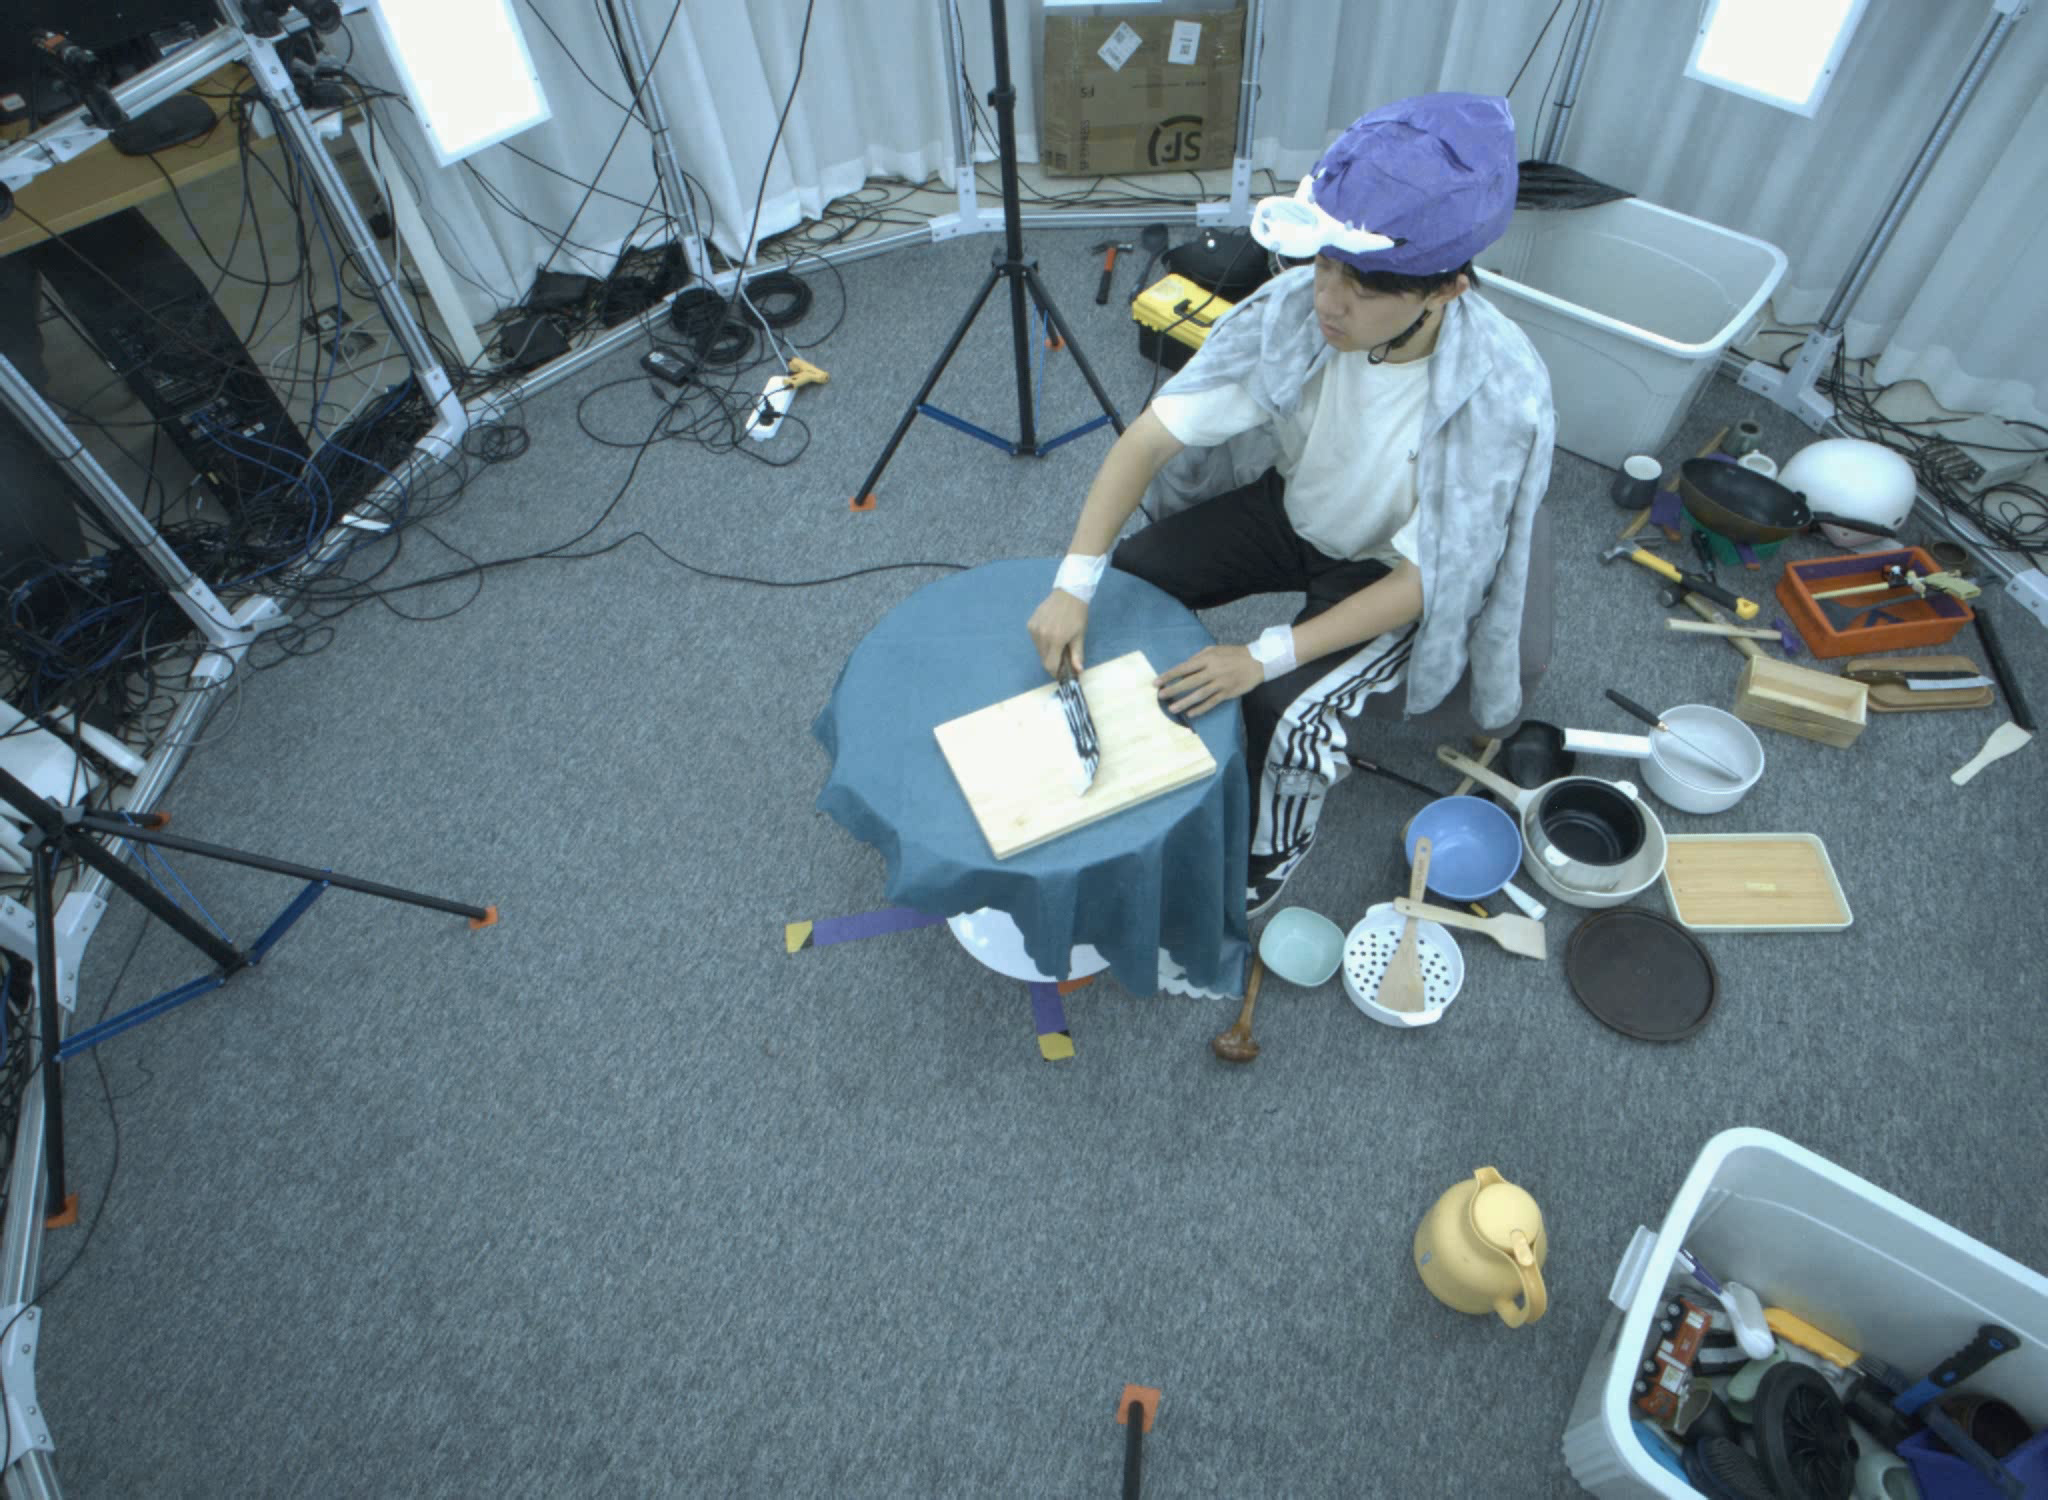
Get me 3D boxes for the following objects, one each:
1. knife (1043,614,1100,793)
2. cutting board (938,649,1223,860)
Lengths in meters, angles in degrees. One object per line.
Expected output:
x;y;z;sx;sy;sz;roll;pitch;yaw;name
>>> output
0.061;-0.071;1.785;0.067;0.024;0.295;-35;53;29;knife
0.075;-0.002;1.779;0.351;0.024;0.246;-22;57;-13;cutting board
